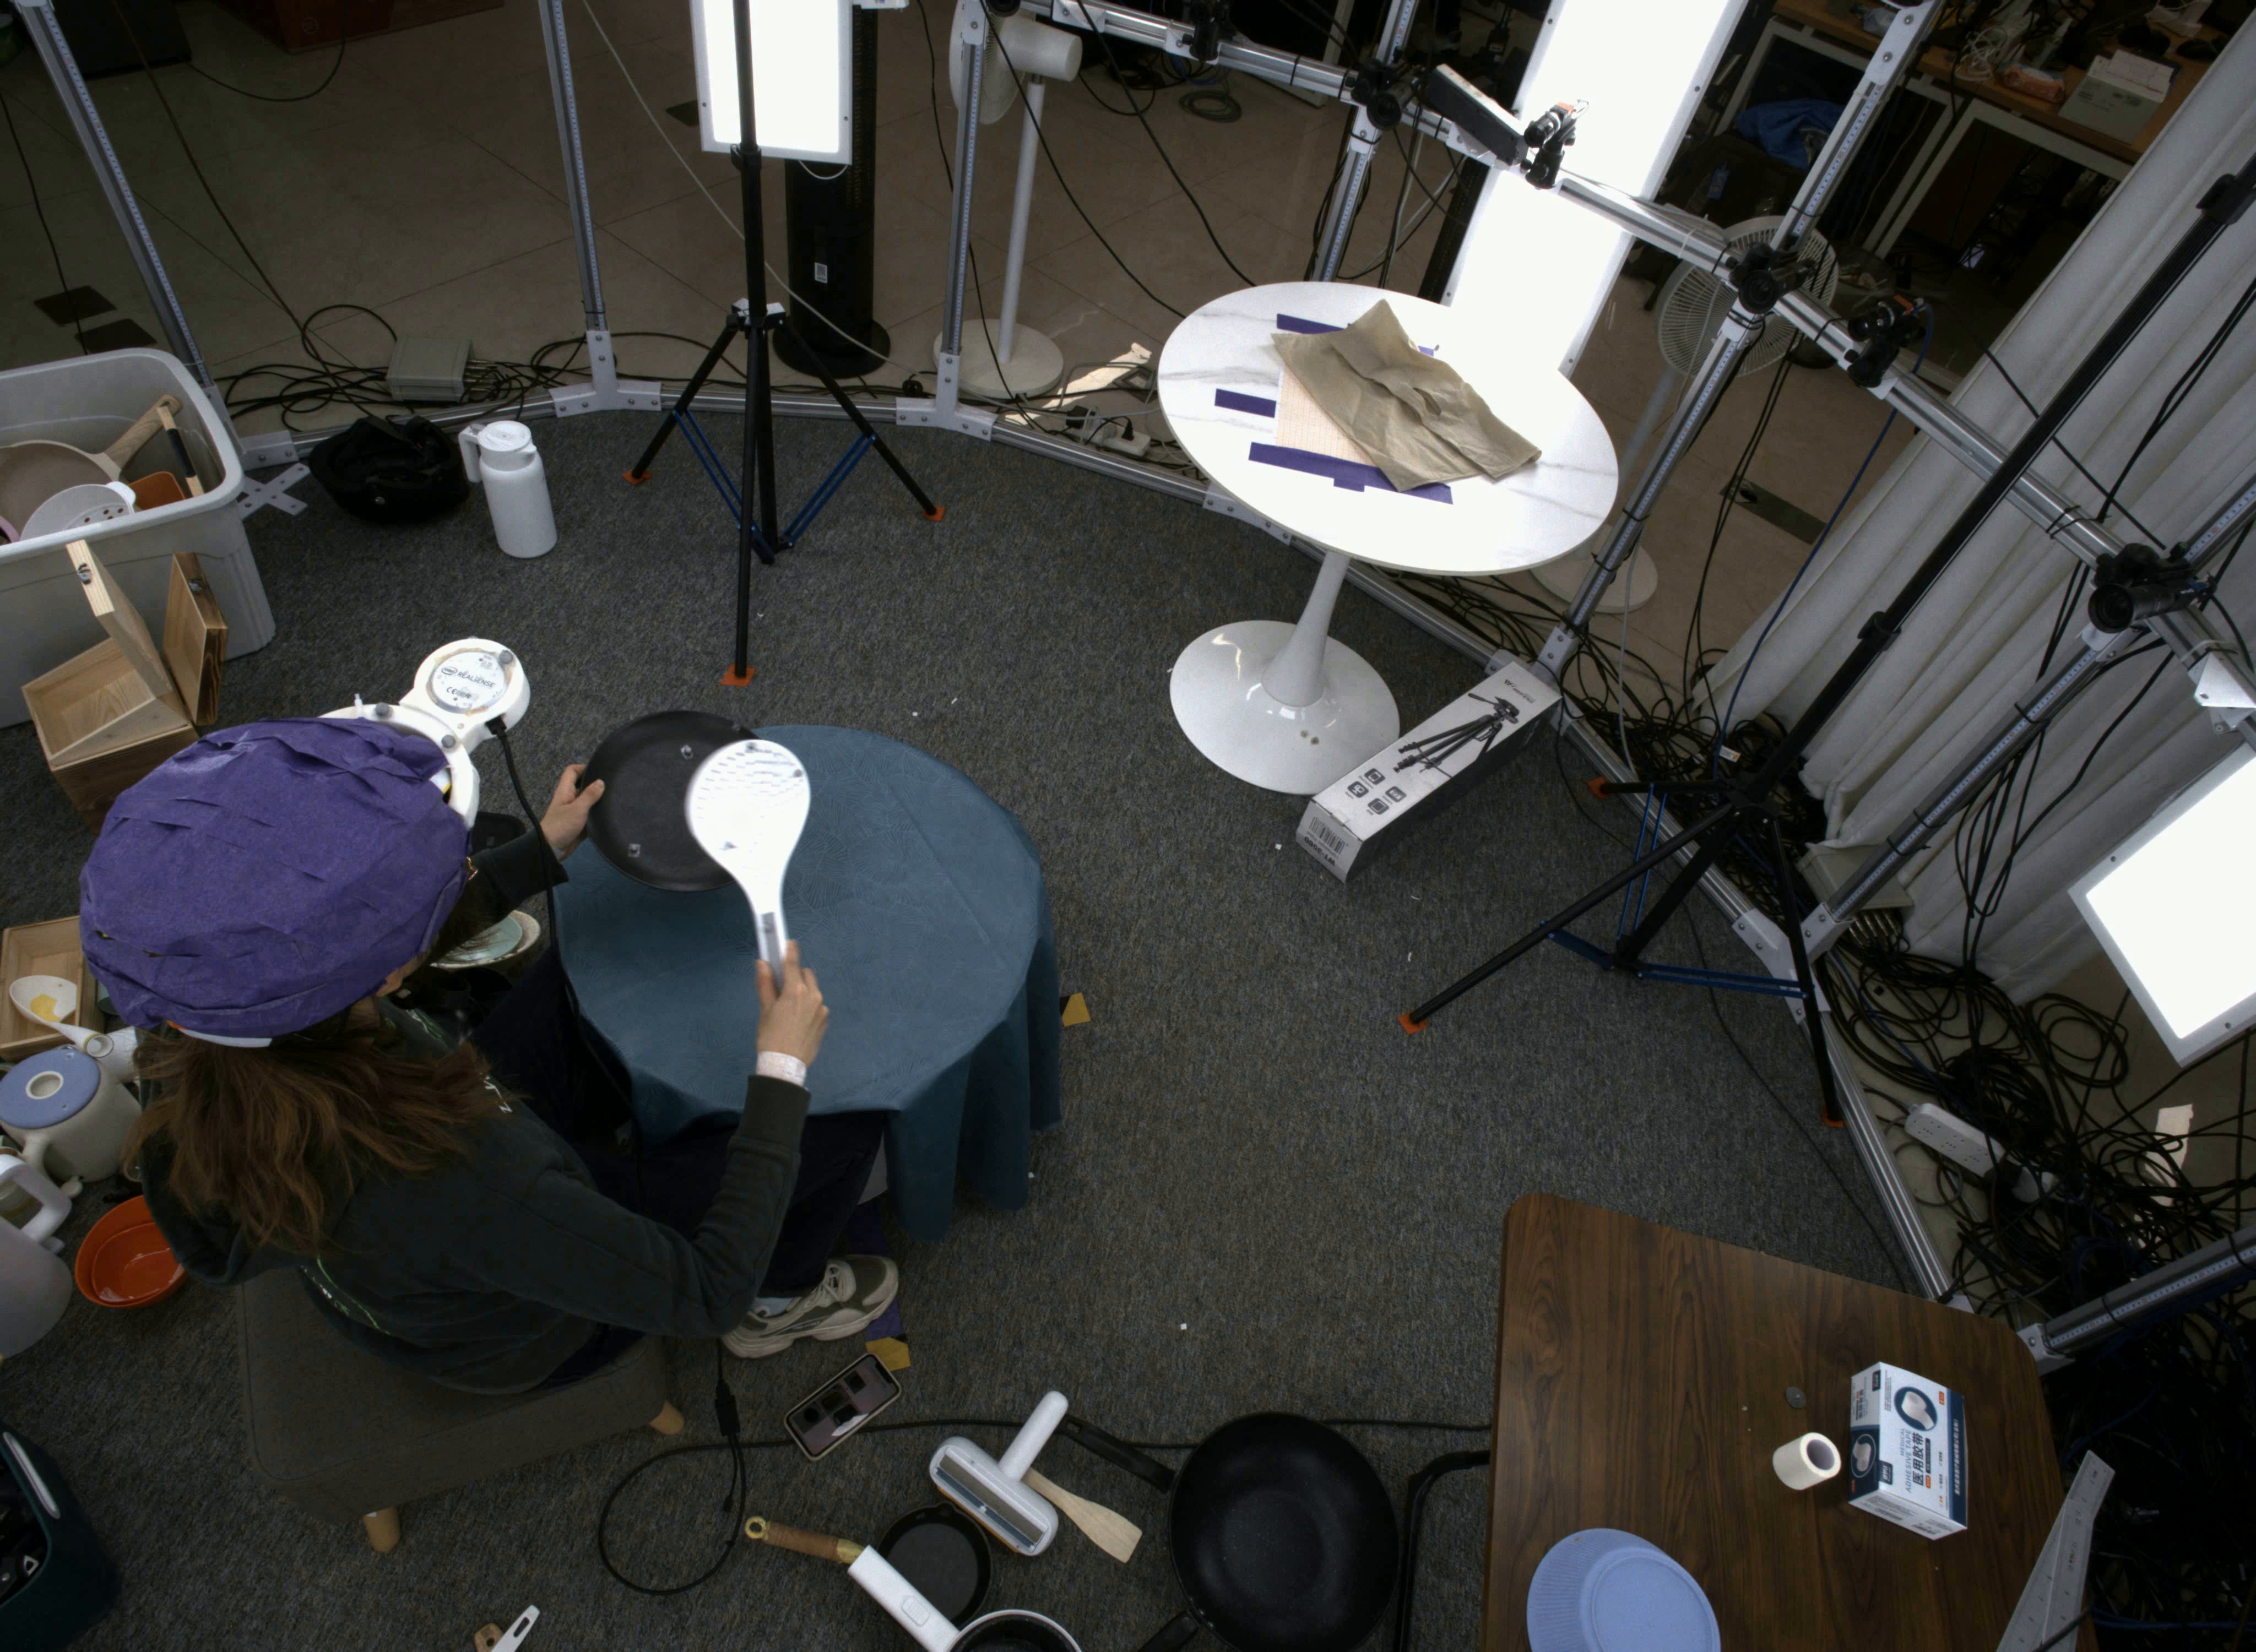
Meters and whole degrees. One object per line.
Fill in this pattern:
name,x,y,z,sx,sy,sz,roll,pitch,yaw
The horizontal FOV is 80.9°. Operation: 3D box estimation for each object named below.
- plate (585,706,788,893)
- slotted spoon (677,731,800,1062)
plate,-0.532,-0.032,1.548,0.246,0.023,0.242,10,64,-19
slotted spoon,-0.389,0.070,1.354,0.135,0.046,0.347,-13,74,-2
